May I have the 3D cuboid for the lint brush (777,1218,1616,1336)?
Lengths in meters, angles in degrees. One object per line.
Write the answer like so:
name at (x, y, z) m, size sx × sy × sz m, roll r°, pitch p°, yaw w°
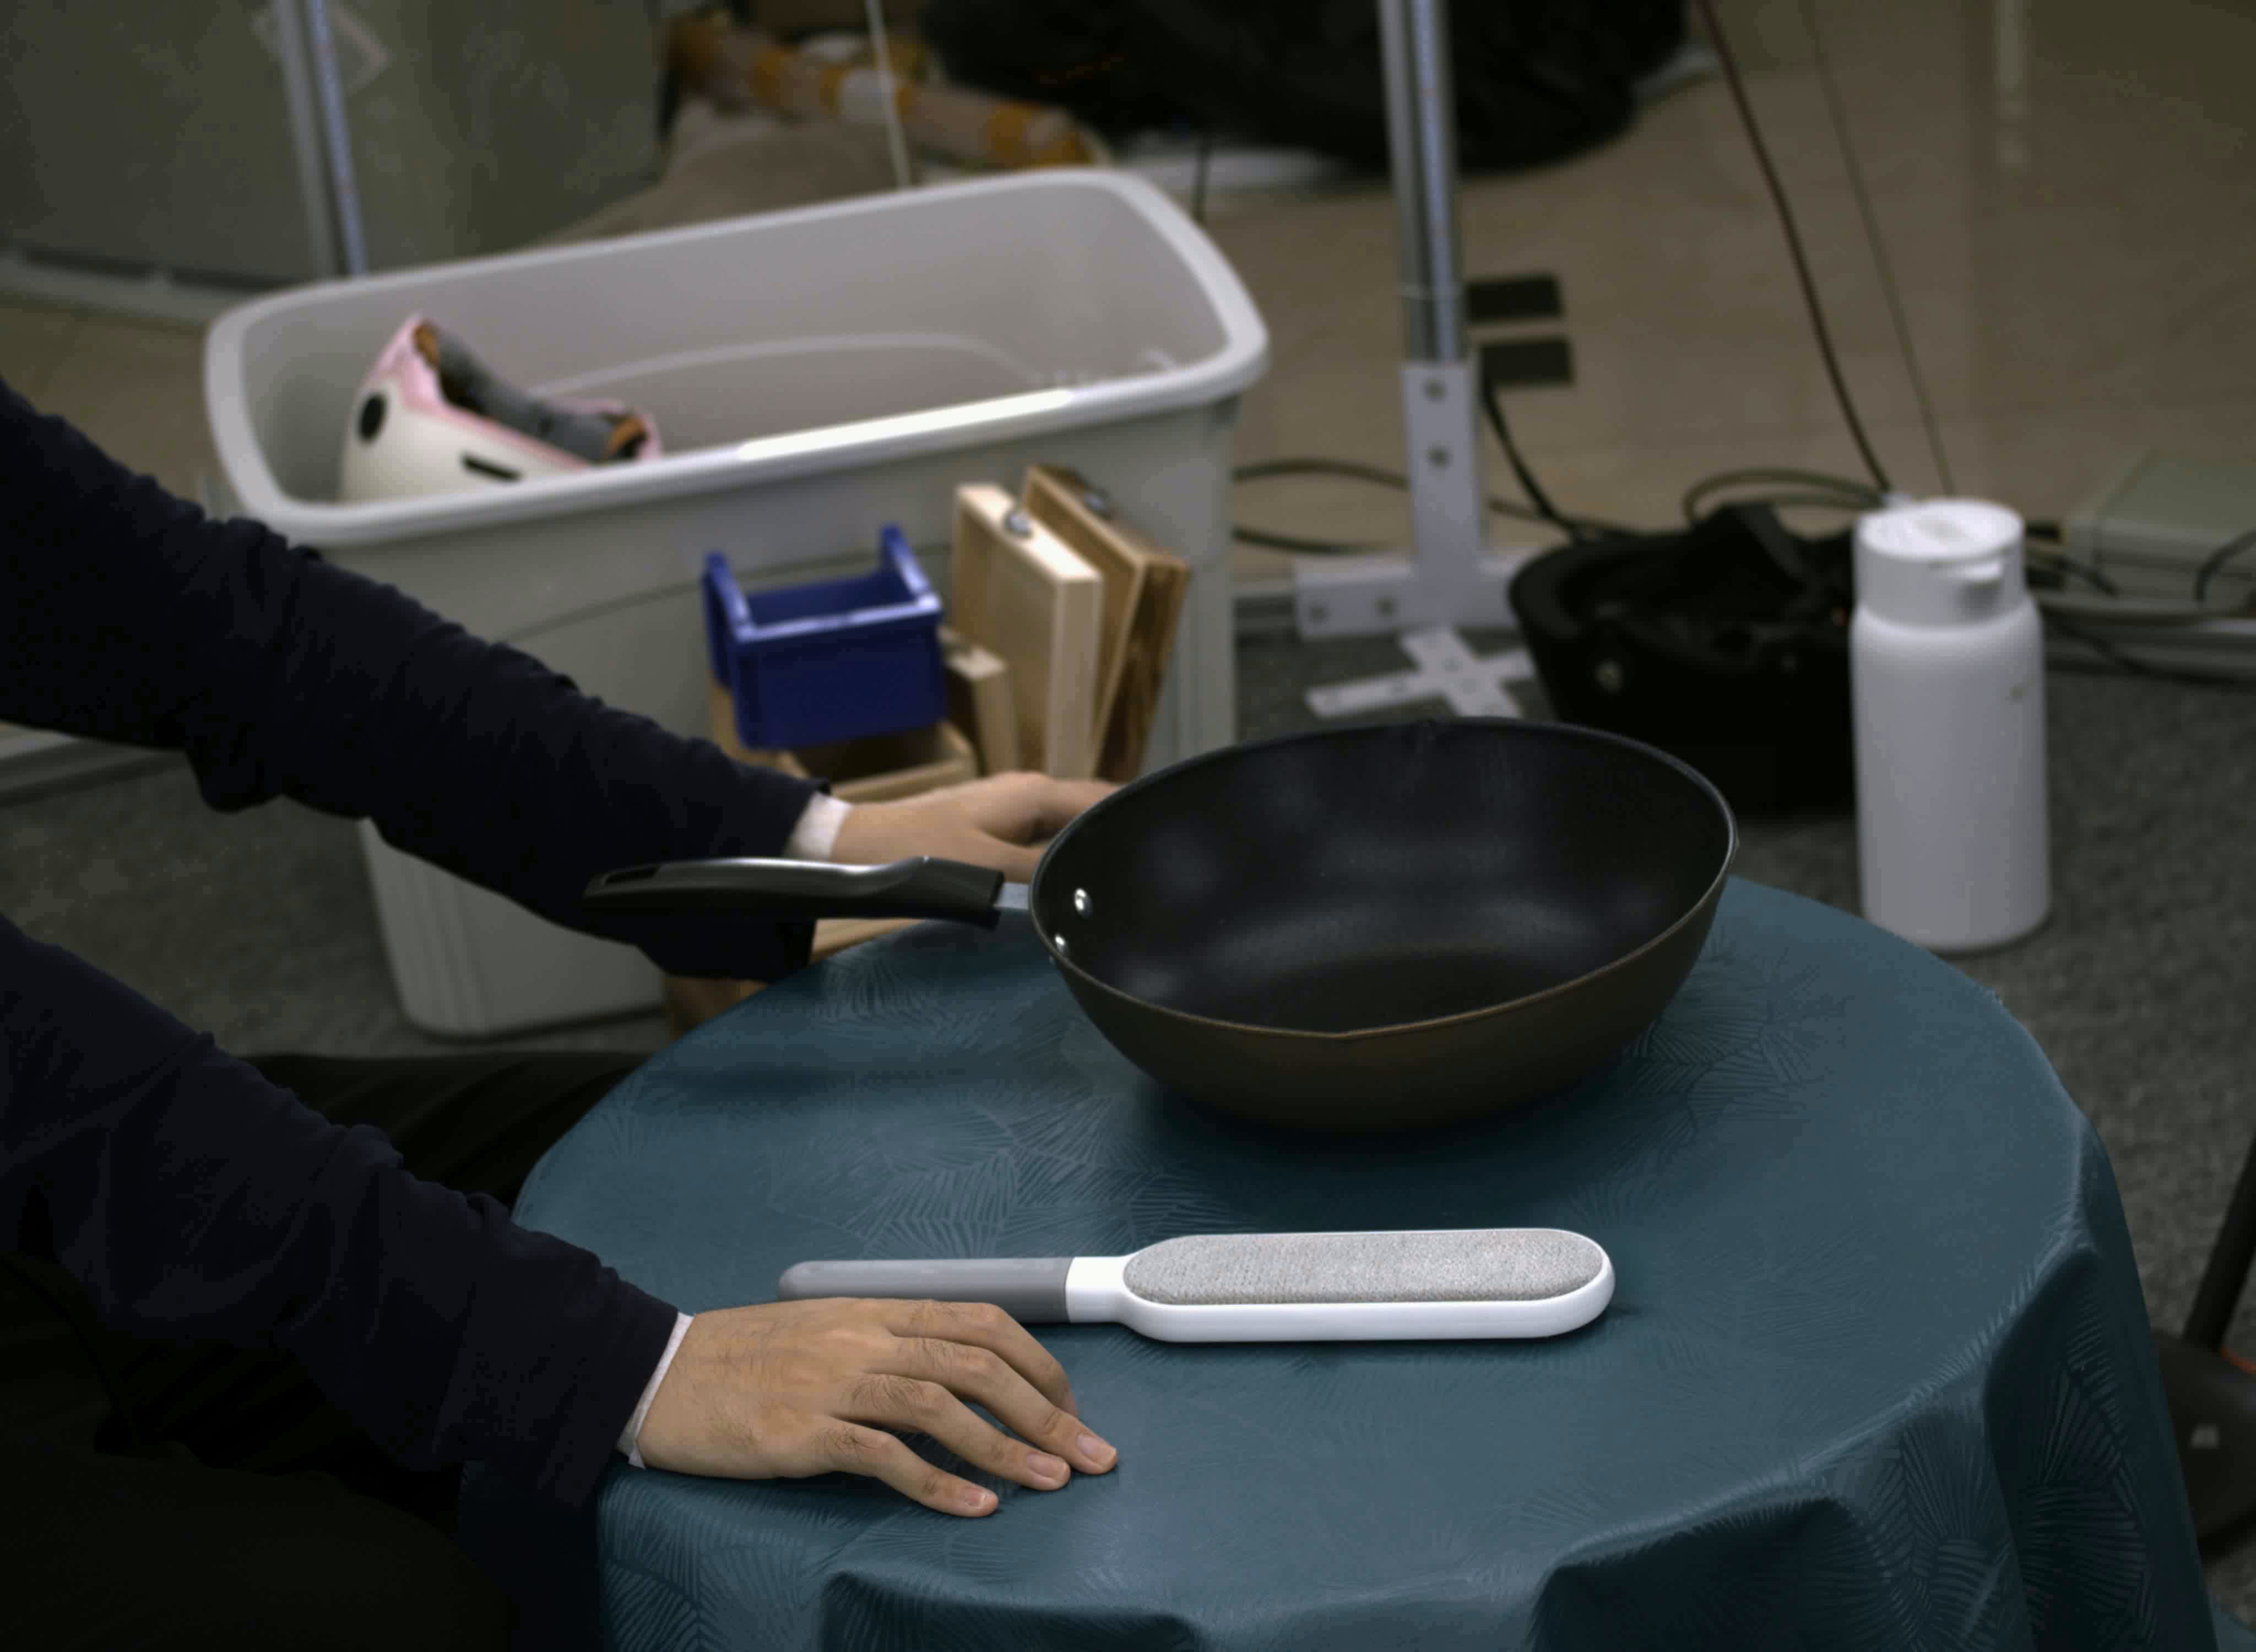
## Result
lint brush at (0.022, 0.164, 2.059) m, size 0.308 × 0.021 × 0.059 m, roll -1°, pitch 31°, yaw 11°

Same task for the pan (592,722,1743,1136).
pan at (0.014, 0.051, 2.239) m, size 0.462 × 0.088 × 0.284 m, roll -1°, pitch 25°, yaw 12°
